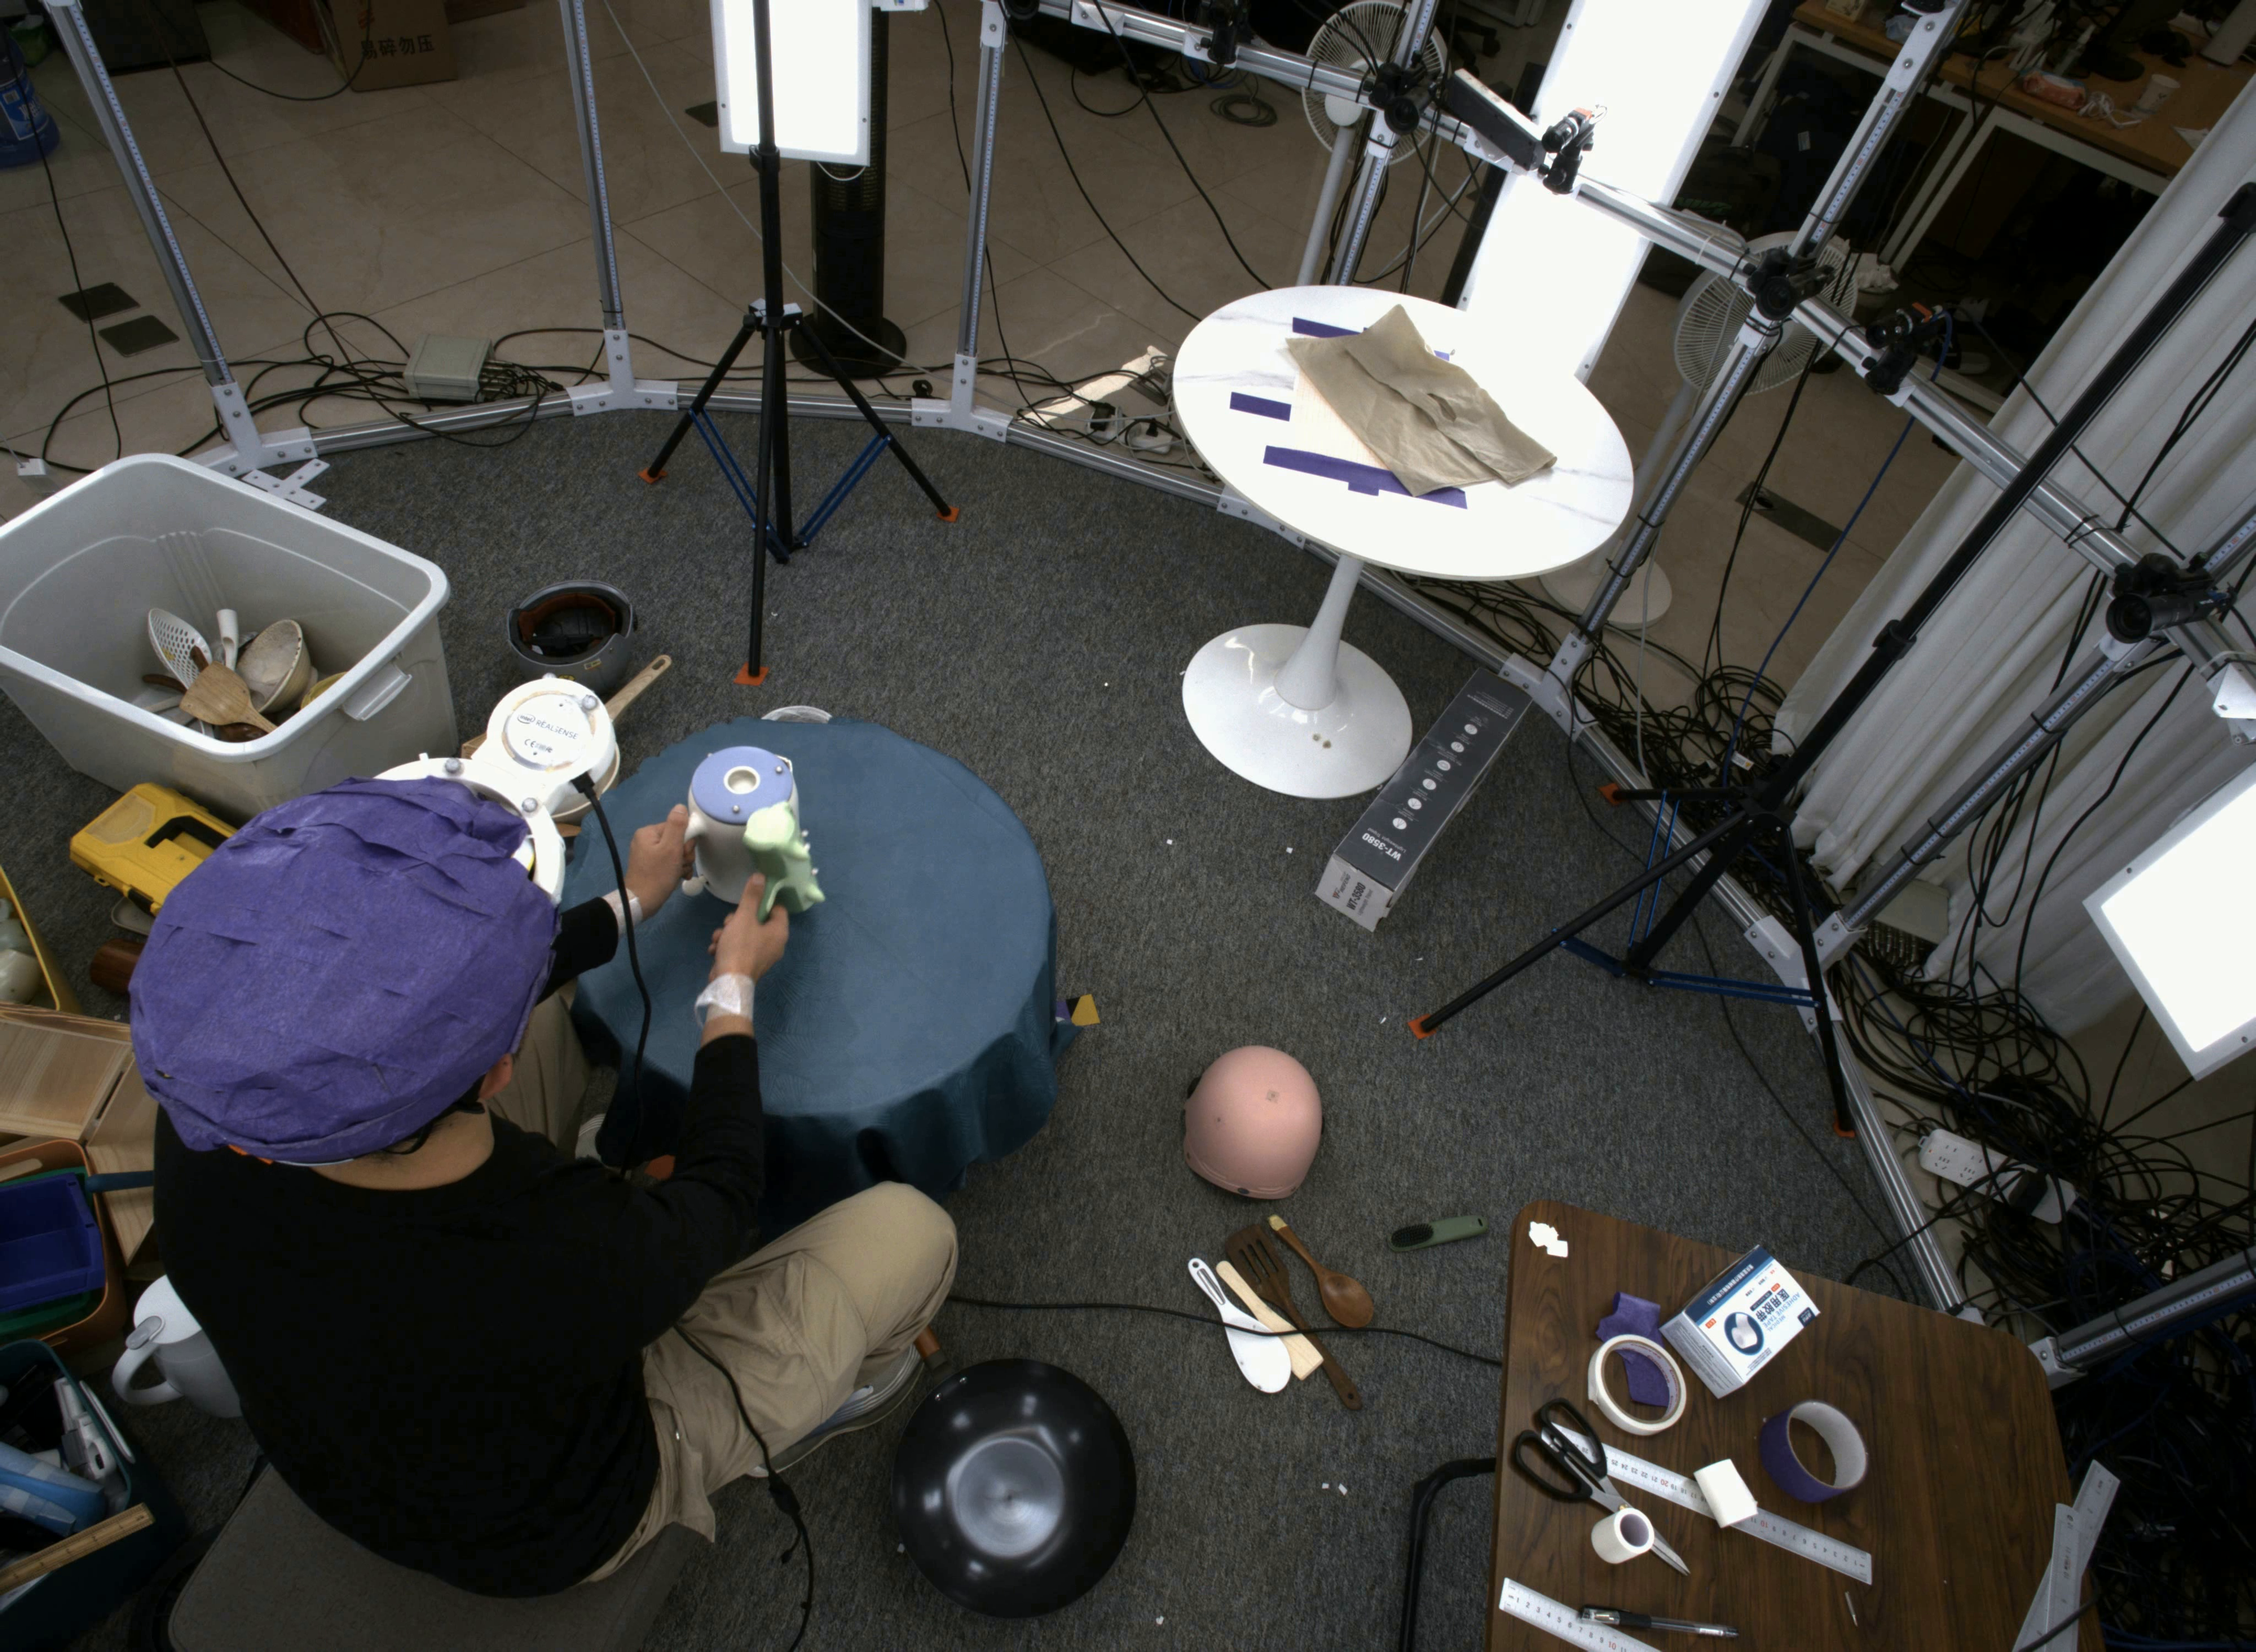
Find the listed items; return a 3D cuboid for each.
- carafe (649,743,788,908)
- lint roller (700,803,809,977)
[{"bbox_3d":[-0.505,0.012,1.577,0.129,0.186,0.191,39,56,18],"label":"carafe"},{"bbox_3d":[-0.430,0.093,1.500,0.081,0.202,0.182,12,64,2],"label":"lint roller"}]
